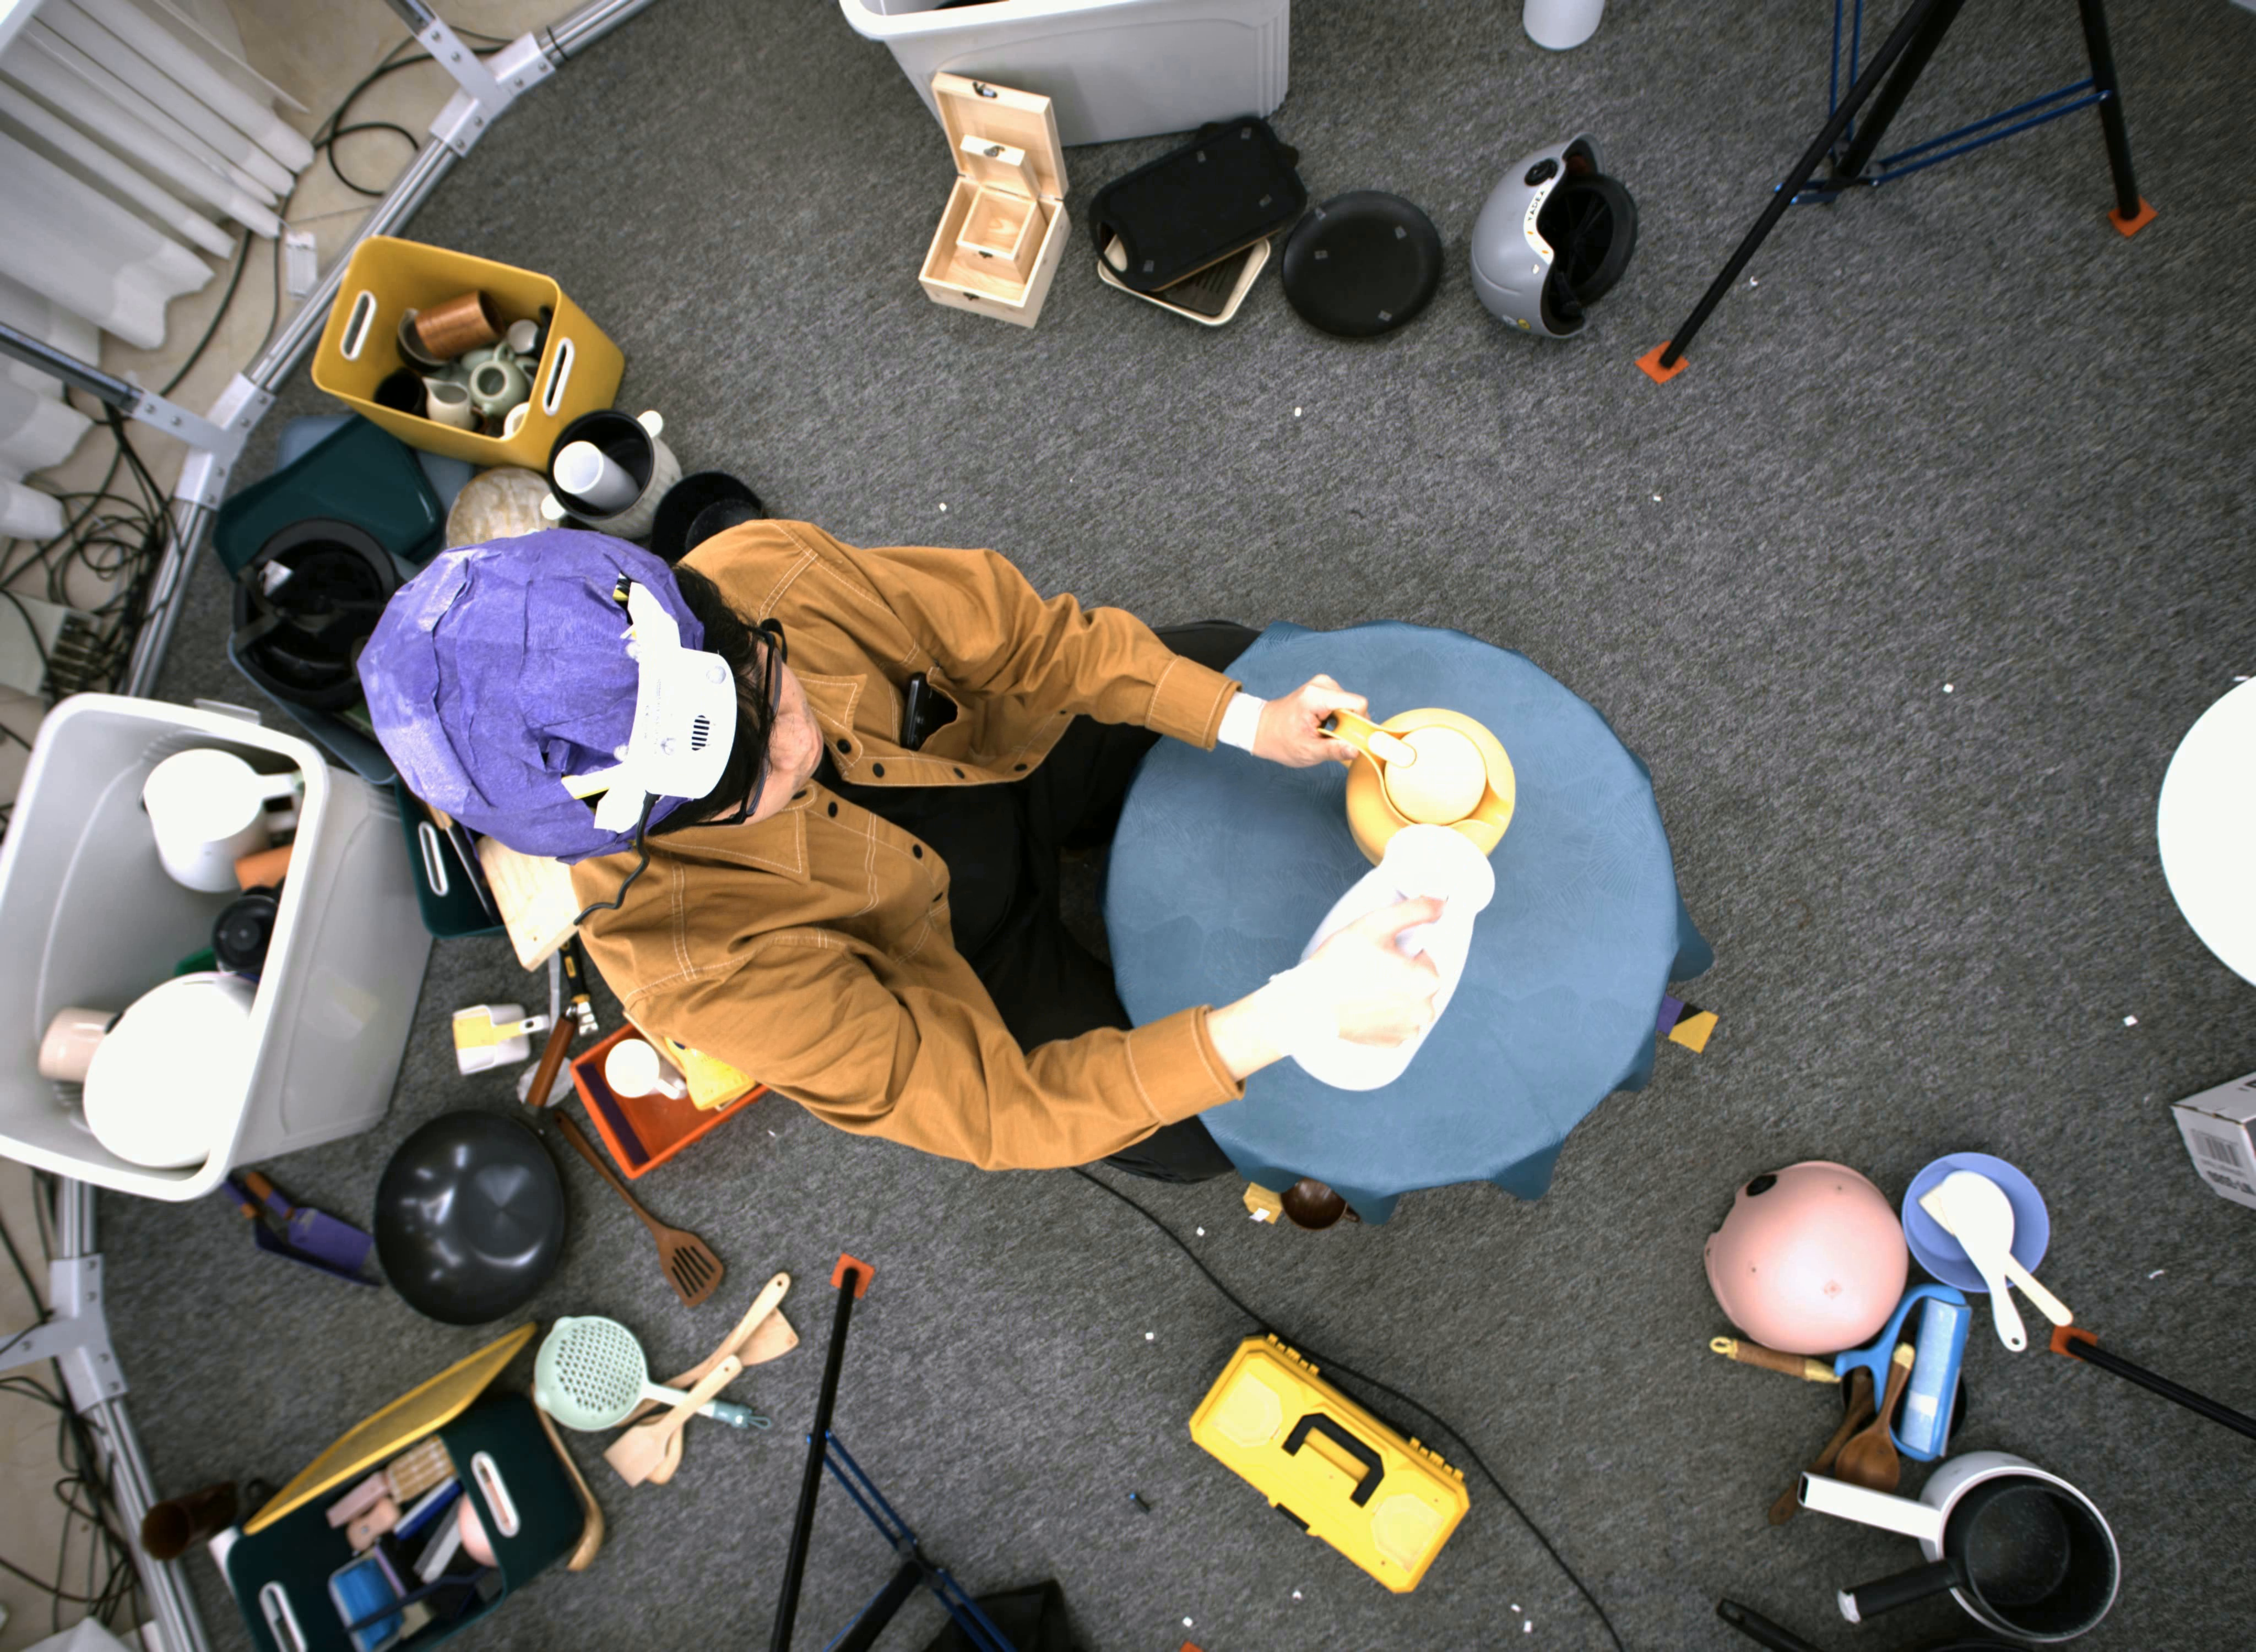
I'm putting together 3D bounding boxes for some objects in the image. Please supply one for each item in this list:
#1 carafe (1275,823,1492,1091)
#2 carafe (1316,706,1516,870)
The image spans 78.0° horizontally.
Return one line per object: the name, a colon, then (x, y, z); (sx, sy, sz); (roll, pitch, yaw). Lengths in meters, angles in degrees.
carafe: (0.217, 0.119, 1.171); (0.132, 0.255, 0.163); (26, 49, 7)
carafe: (0.276, -0.045, 1.335); (0.202, 0.261, 0.163); (34, 90, 10)
